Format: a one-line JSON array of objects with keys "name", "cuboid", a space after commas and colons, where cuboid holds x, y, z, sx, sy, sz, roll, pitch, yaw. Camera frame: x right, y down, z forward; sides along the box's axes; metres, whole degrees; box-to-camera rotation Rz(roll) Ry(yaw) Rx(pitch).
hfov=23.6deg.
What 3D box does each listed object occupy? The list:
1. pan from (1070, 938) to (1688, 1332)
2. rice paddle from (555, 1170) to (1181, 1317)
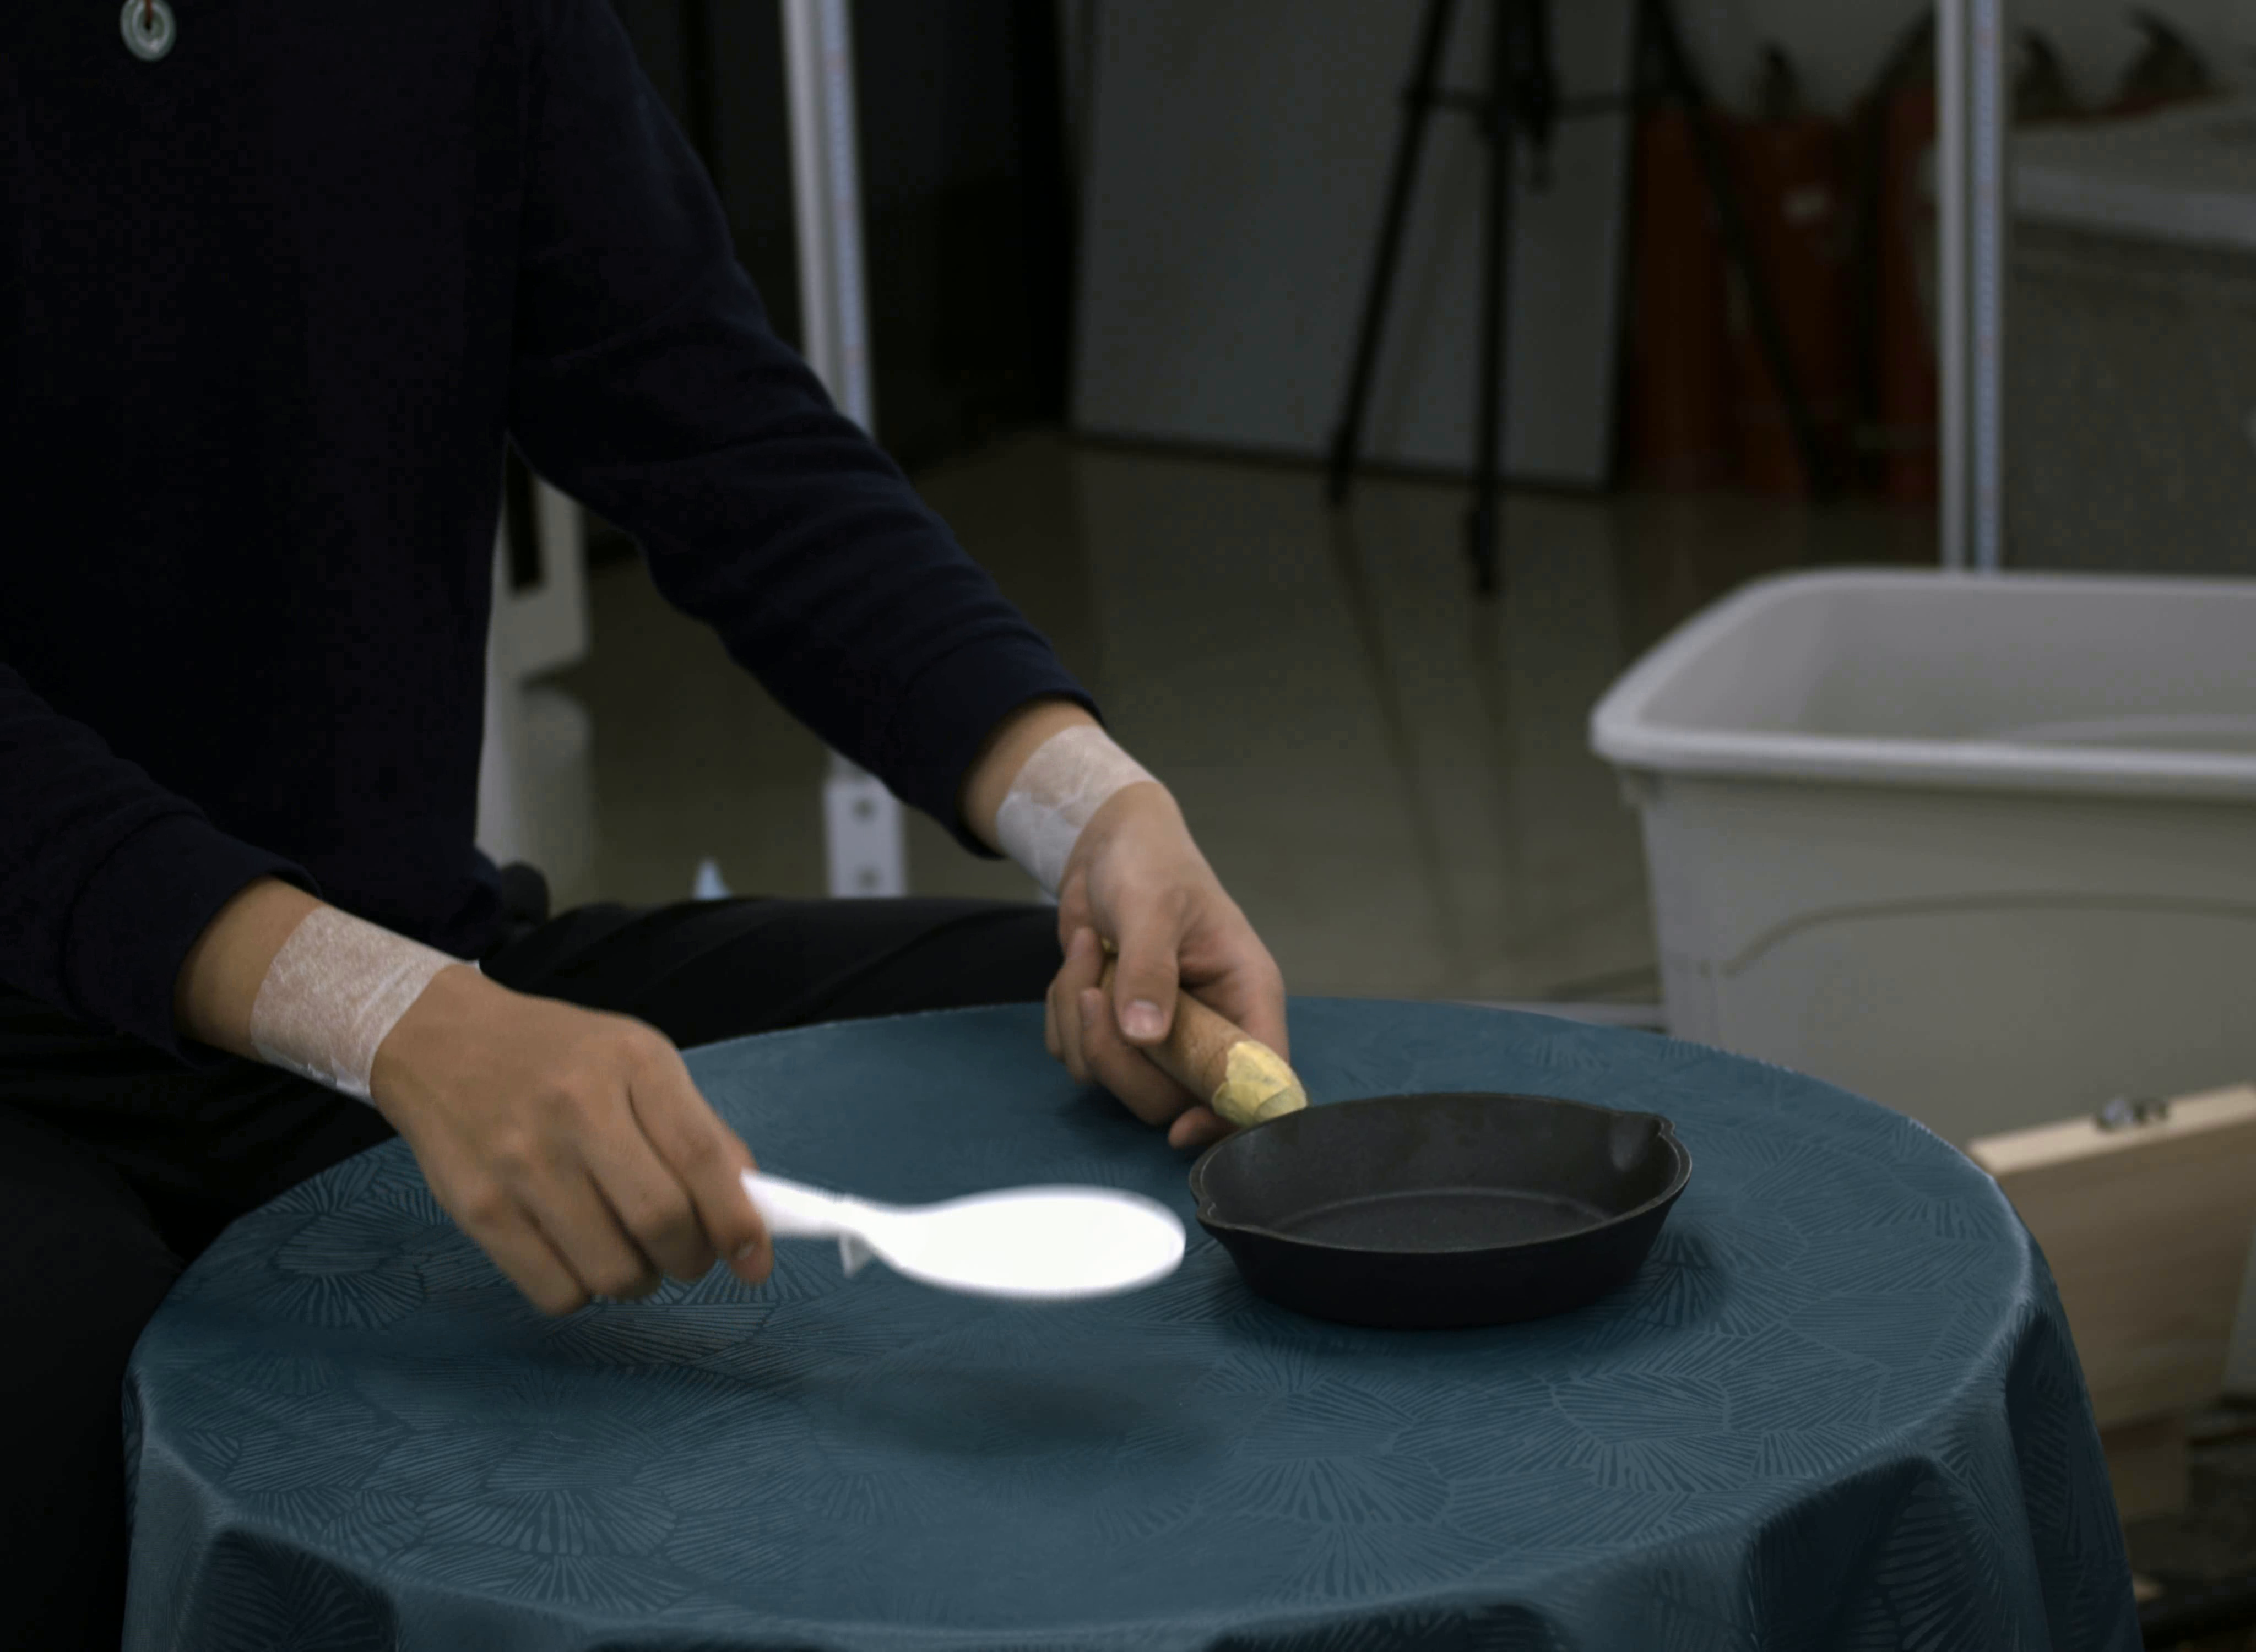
[{"name": "pan", "cuboid": [0.060, 0.096, 1.748, 0.165, 0.050, 0.327, -10, 17, -24]}, {"name": "rice paddle", "cuboid": [-0.077, 0.123, 1.602, 0.206, 0.030, 0.068, 2, 20, 29]}]
